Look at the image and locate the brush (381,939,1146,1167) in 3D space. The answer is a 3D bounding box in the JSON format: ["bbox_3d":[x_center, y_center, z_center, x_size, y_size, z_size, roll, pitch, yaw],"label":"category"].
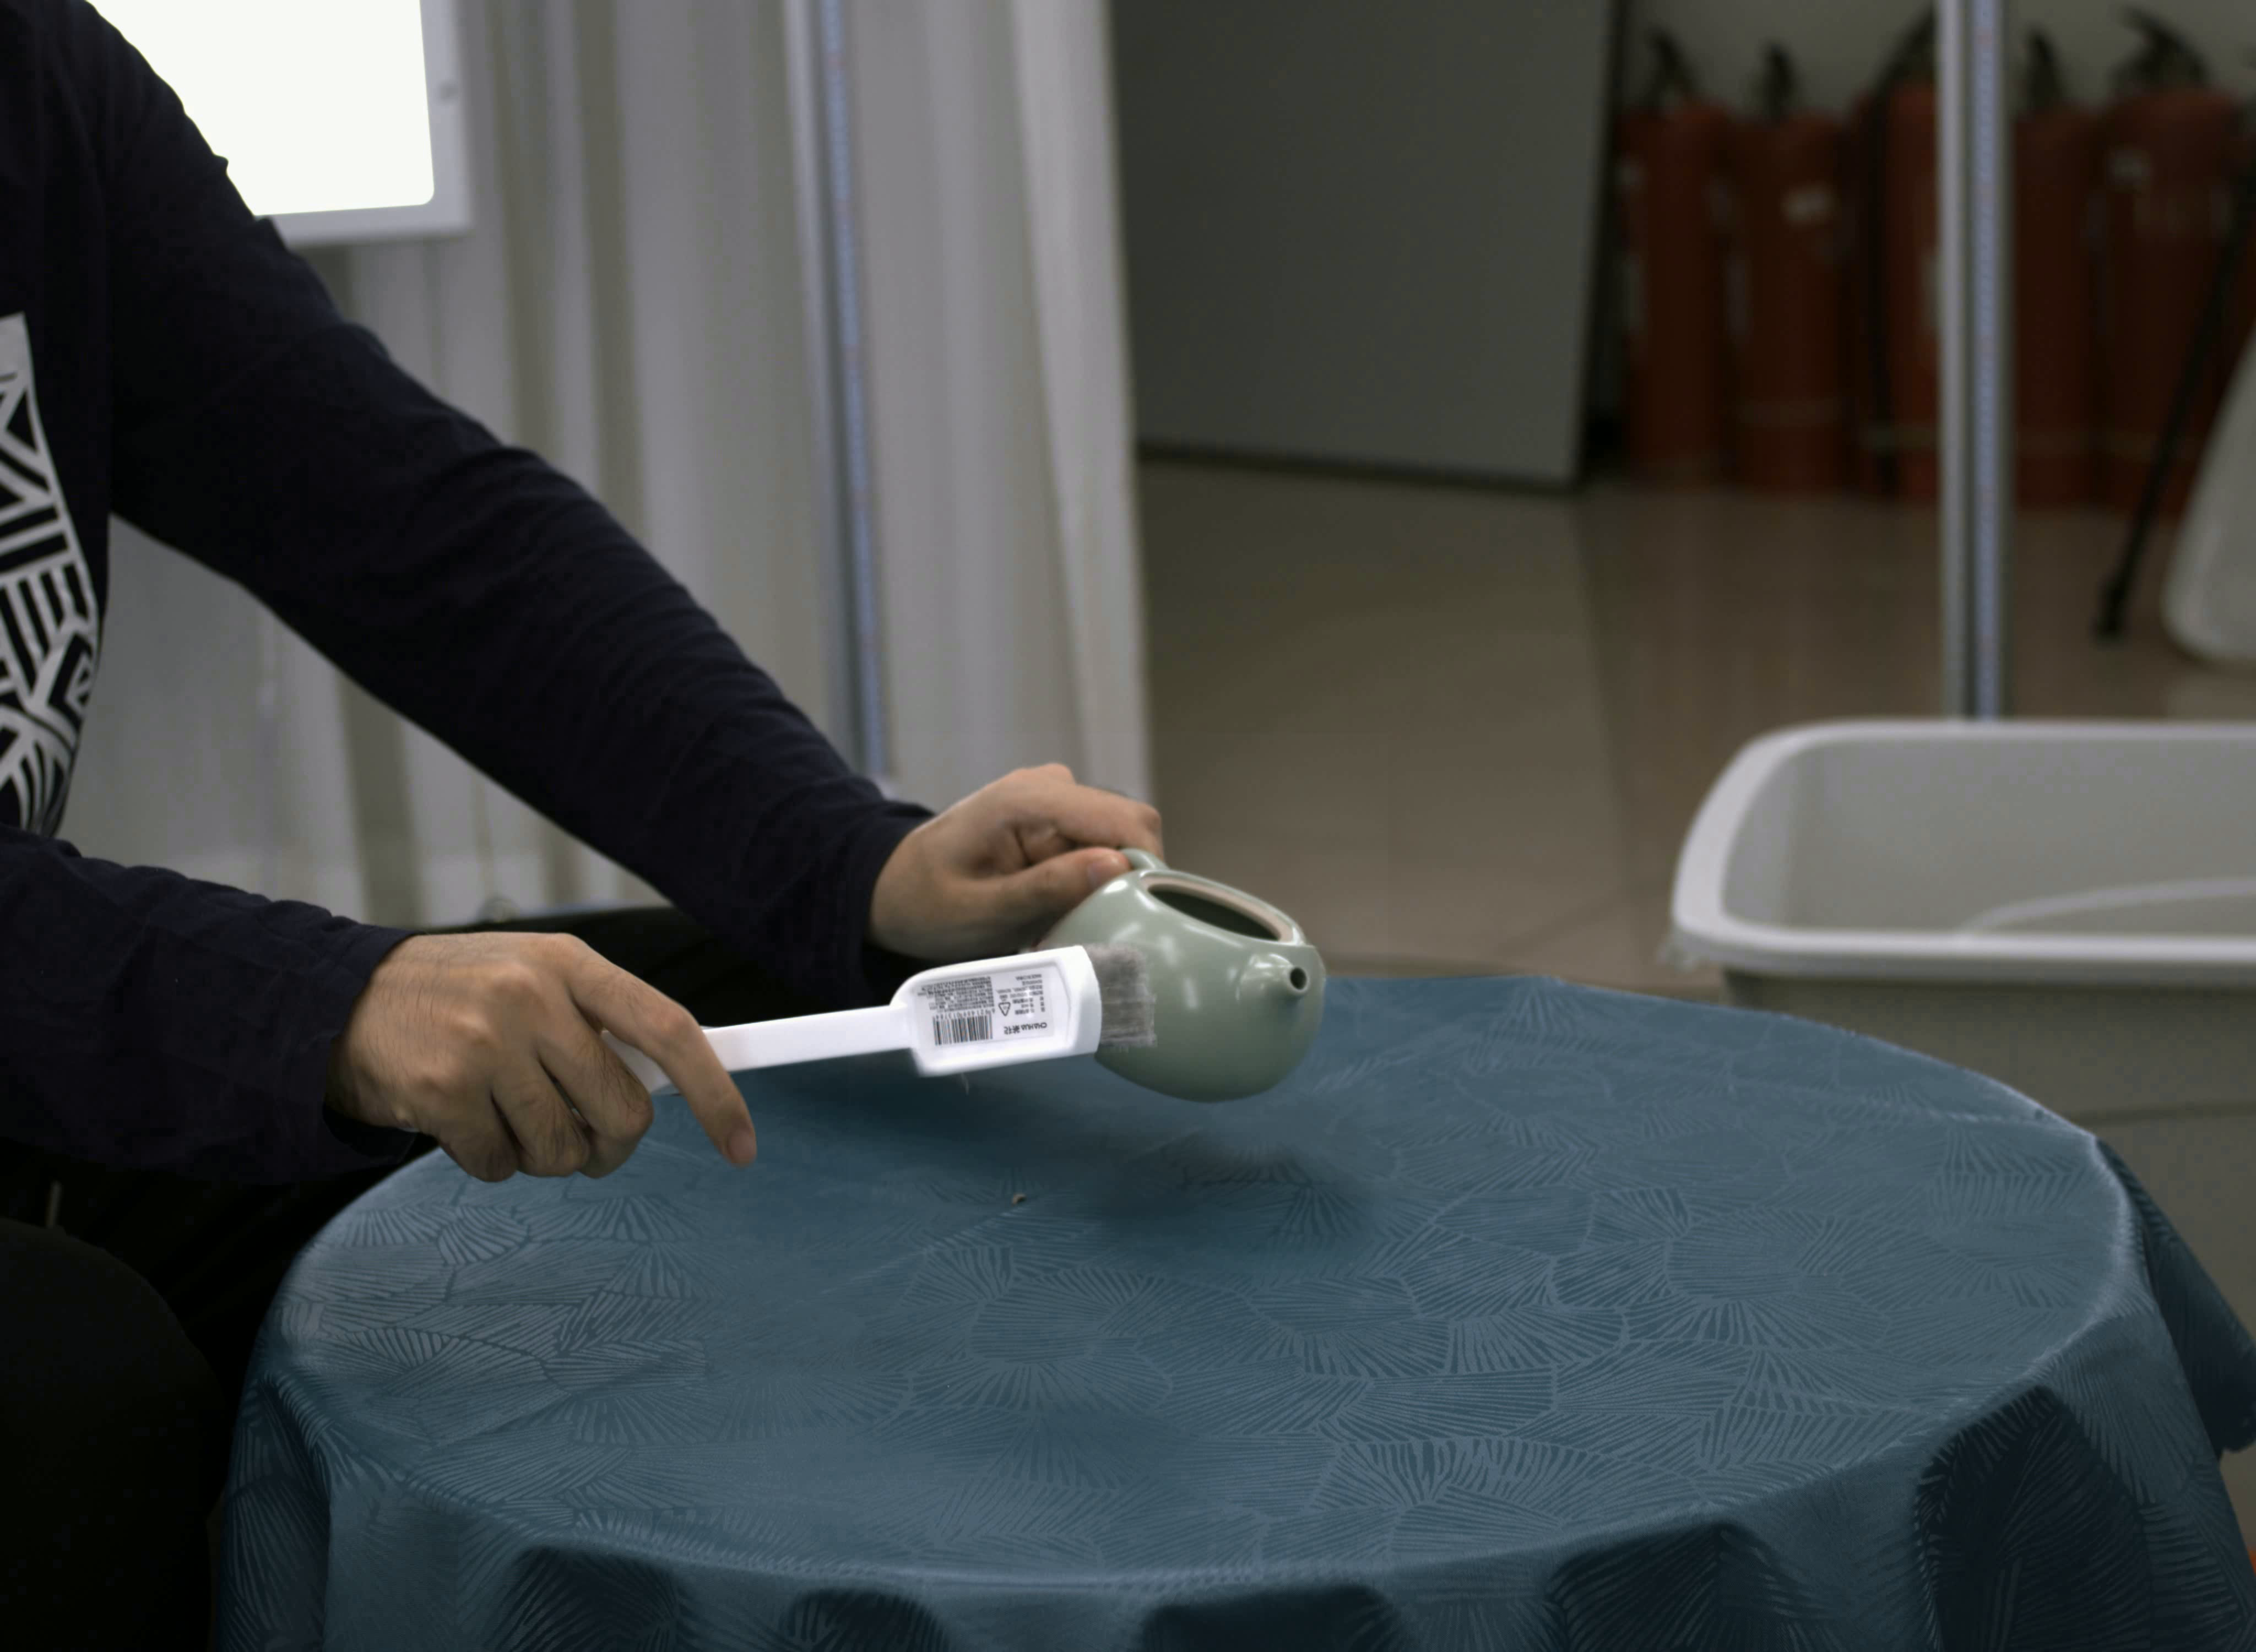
[{"bbox_3d":[-0.110,0.071,1.637,0.243,0.035,0.049,-12,-7,19],"label":"brush"}]

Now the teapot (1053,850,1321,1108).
[{"bbox_3d":[0.015,0.051,1.784,0.089,0.061,0.130,6,19,-29],"label":"teapot"}]
